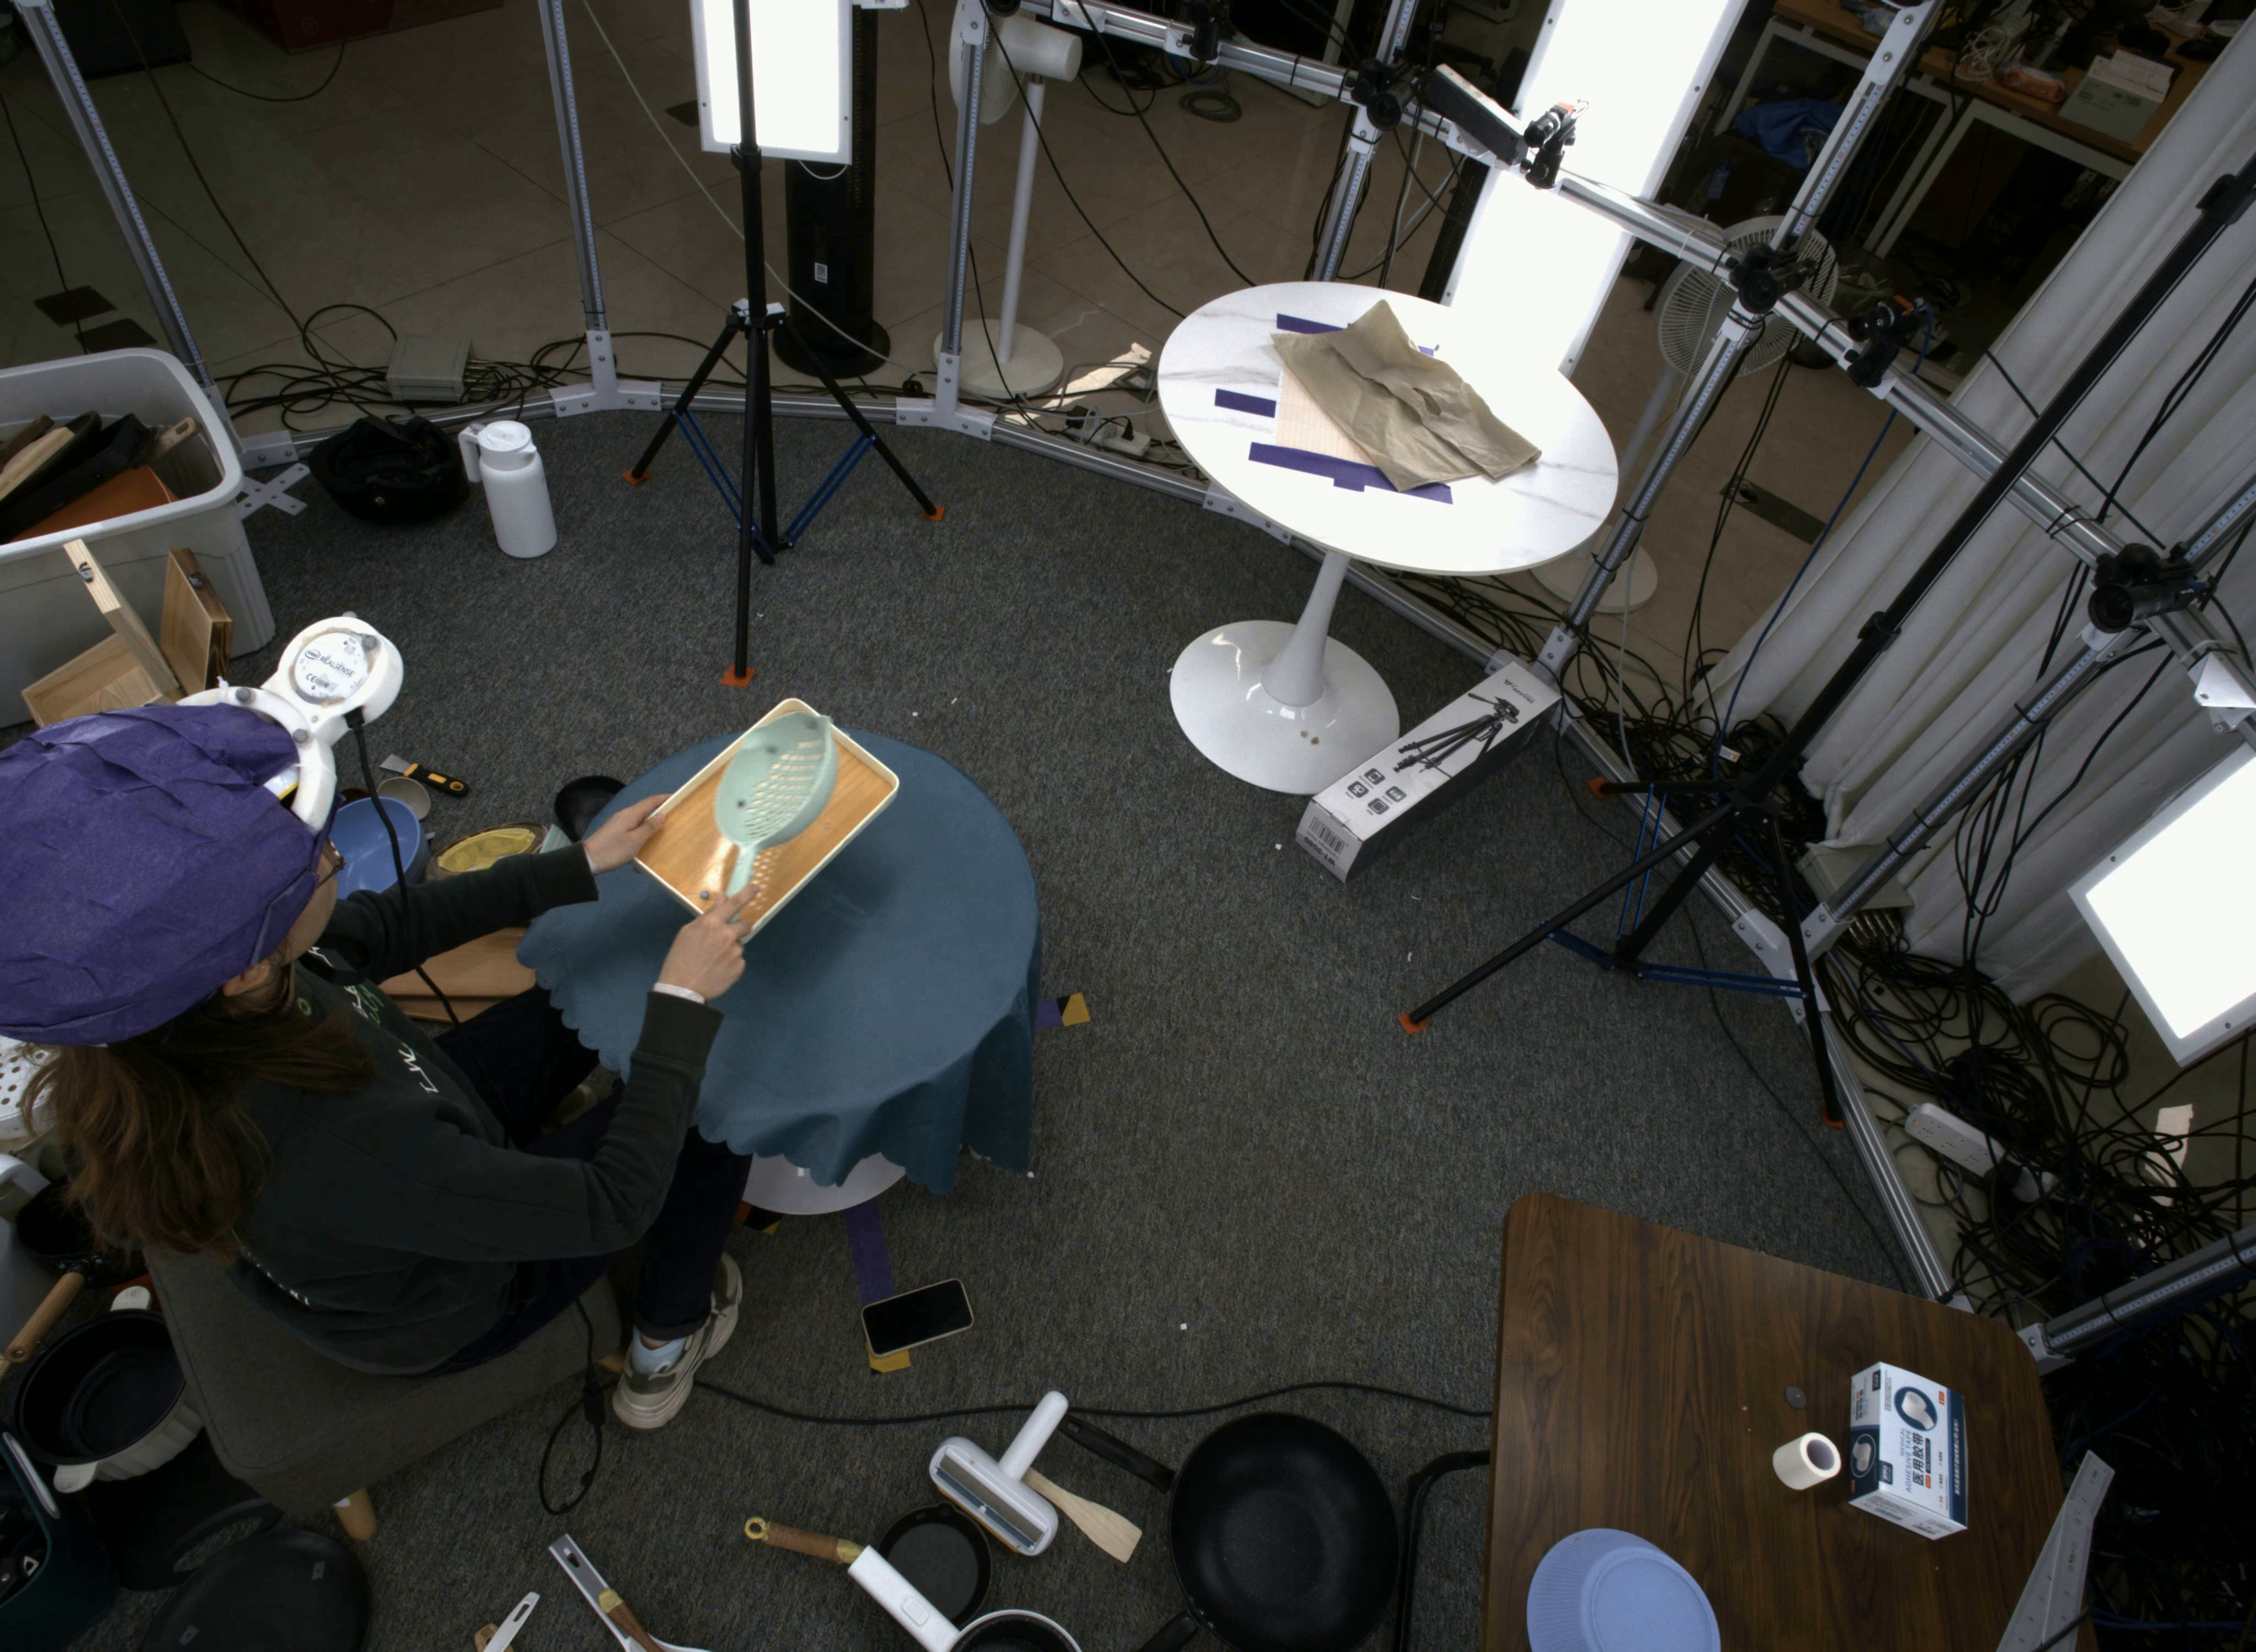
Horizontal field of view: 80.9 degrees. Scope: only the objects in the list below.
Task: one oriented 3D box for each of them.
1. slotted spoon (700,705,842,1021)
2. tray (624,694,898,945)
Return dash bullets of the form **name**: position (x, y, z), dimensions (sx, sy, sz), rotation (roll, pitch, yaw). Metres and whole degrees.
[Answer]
- **slotted spoon**: position (-0.406, 0.032, 1.409), dimensions (0.164, 0.078, 0.356), rotation (-4, 54, 33)
- **tray**: position (-0.442, -0.015, 1.573), dimensions (0.190, 0.027, 0.300), rotation (39, 58, 4)
